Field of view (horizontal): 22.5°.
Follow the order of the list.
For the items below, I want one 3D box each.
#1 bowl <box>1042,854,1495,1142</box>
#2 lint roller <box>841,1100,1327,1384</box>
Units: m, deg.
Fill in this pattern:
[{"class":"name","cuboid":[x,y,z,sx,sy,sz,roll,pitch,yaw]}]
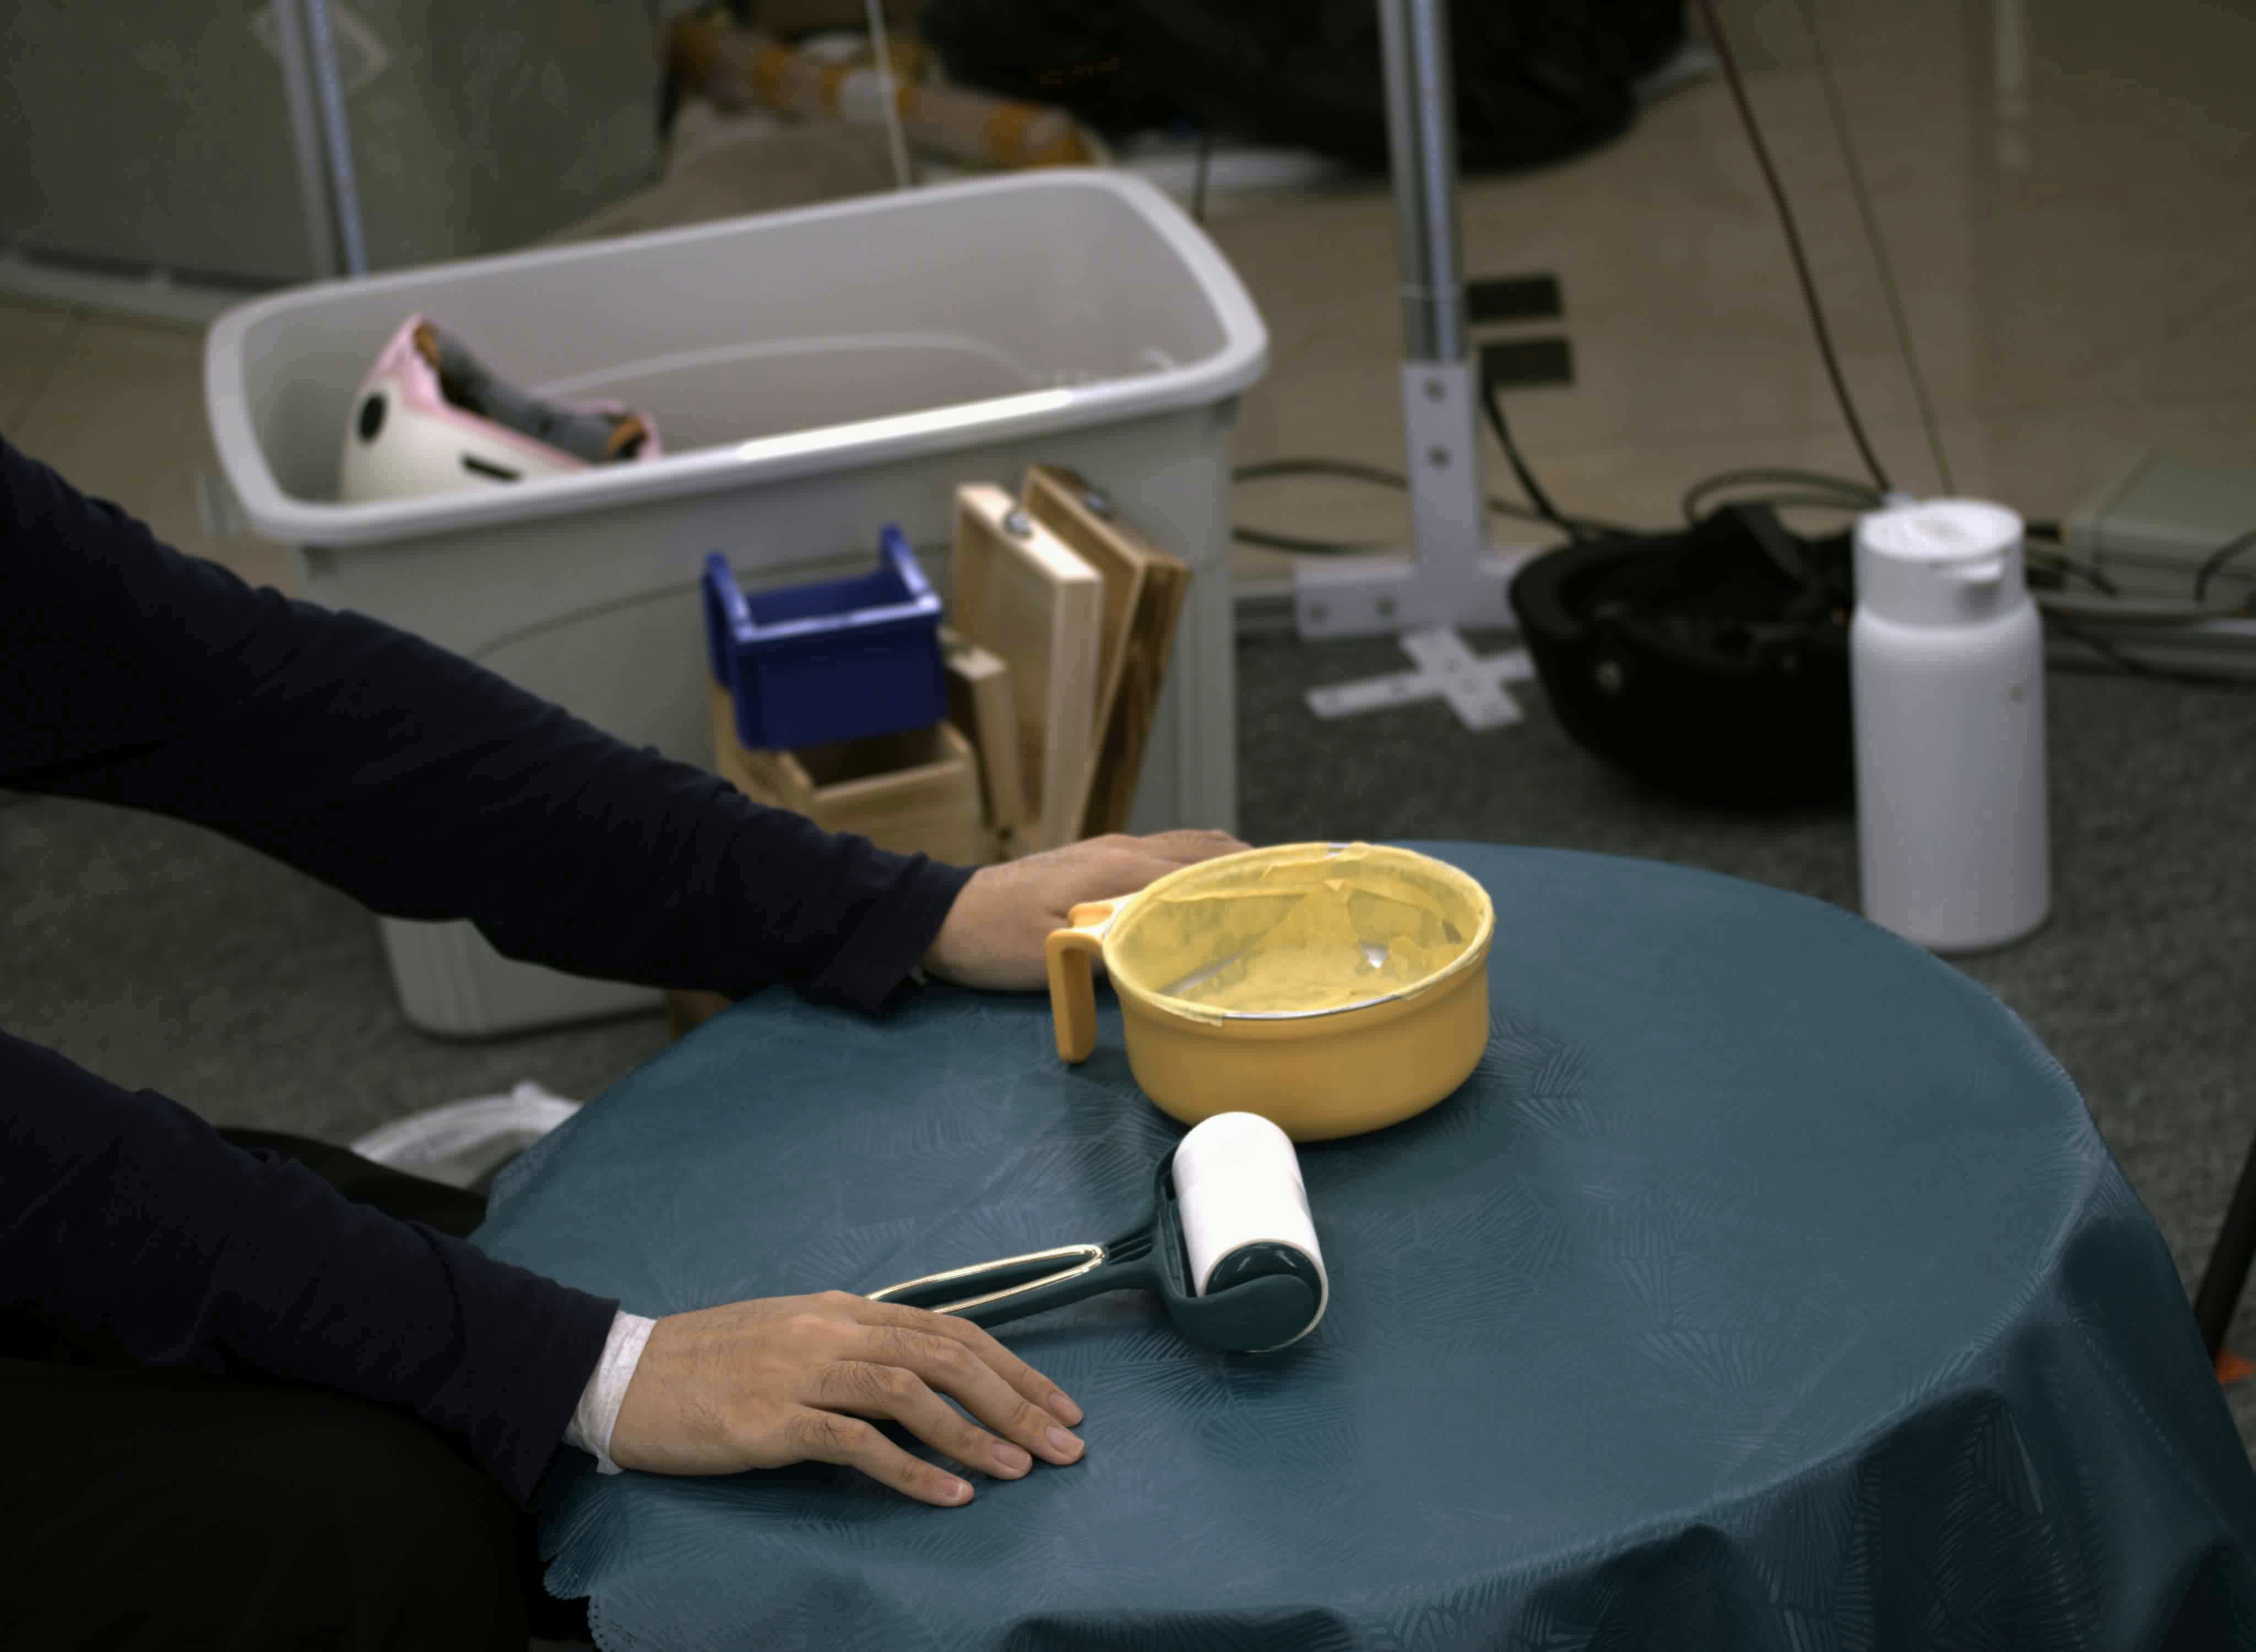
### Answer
[{"class":"bowl","cuboid":[0.055,0.068,2.213,0.179,0.075,0.151,2,27,17]},{"class":"lint roller","cuboid":[-0.021,0.161,2.066,0.180,0.049,0.132,-12,25,1]}]
